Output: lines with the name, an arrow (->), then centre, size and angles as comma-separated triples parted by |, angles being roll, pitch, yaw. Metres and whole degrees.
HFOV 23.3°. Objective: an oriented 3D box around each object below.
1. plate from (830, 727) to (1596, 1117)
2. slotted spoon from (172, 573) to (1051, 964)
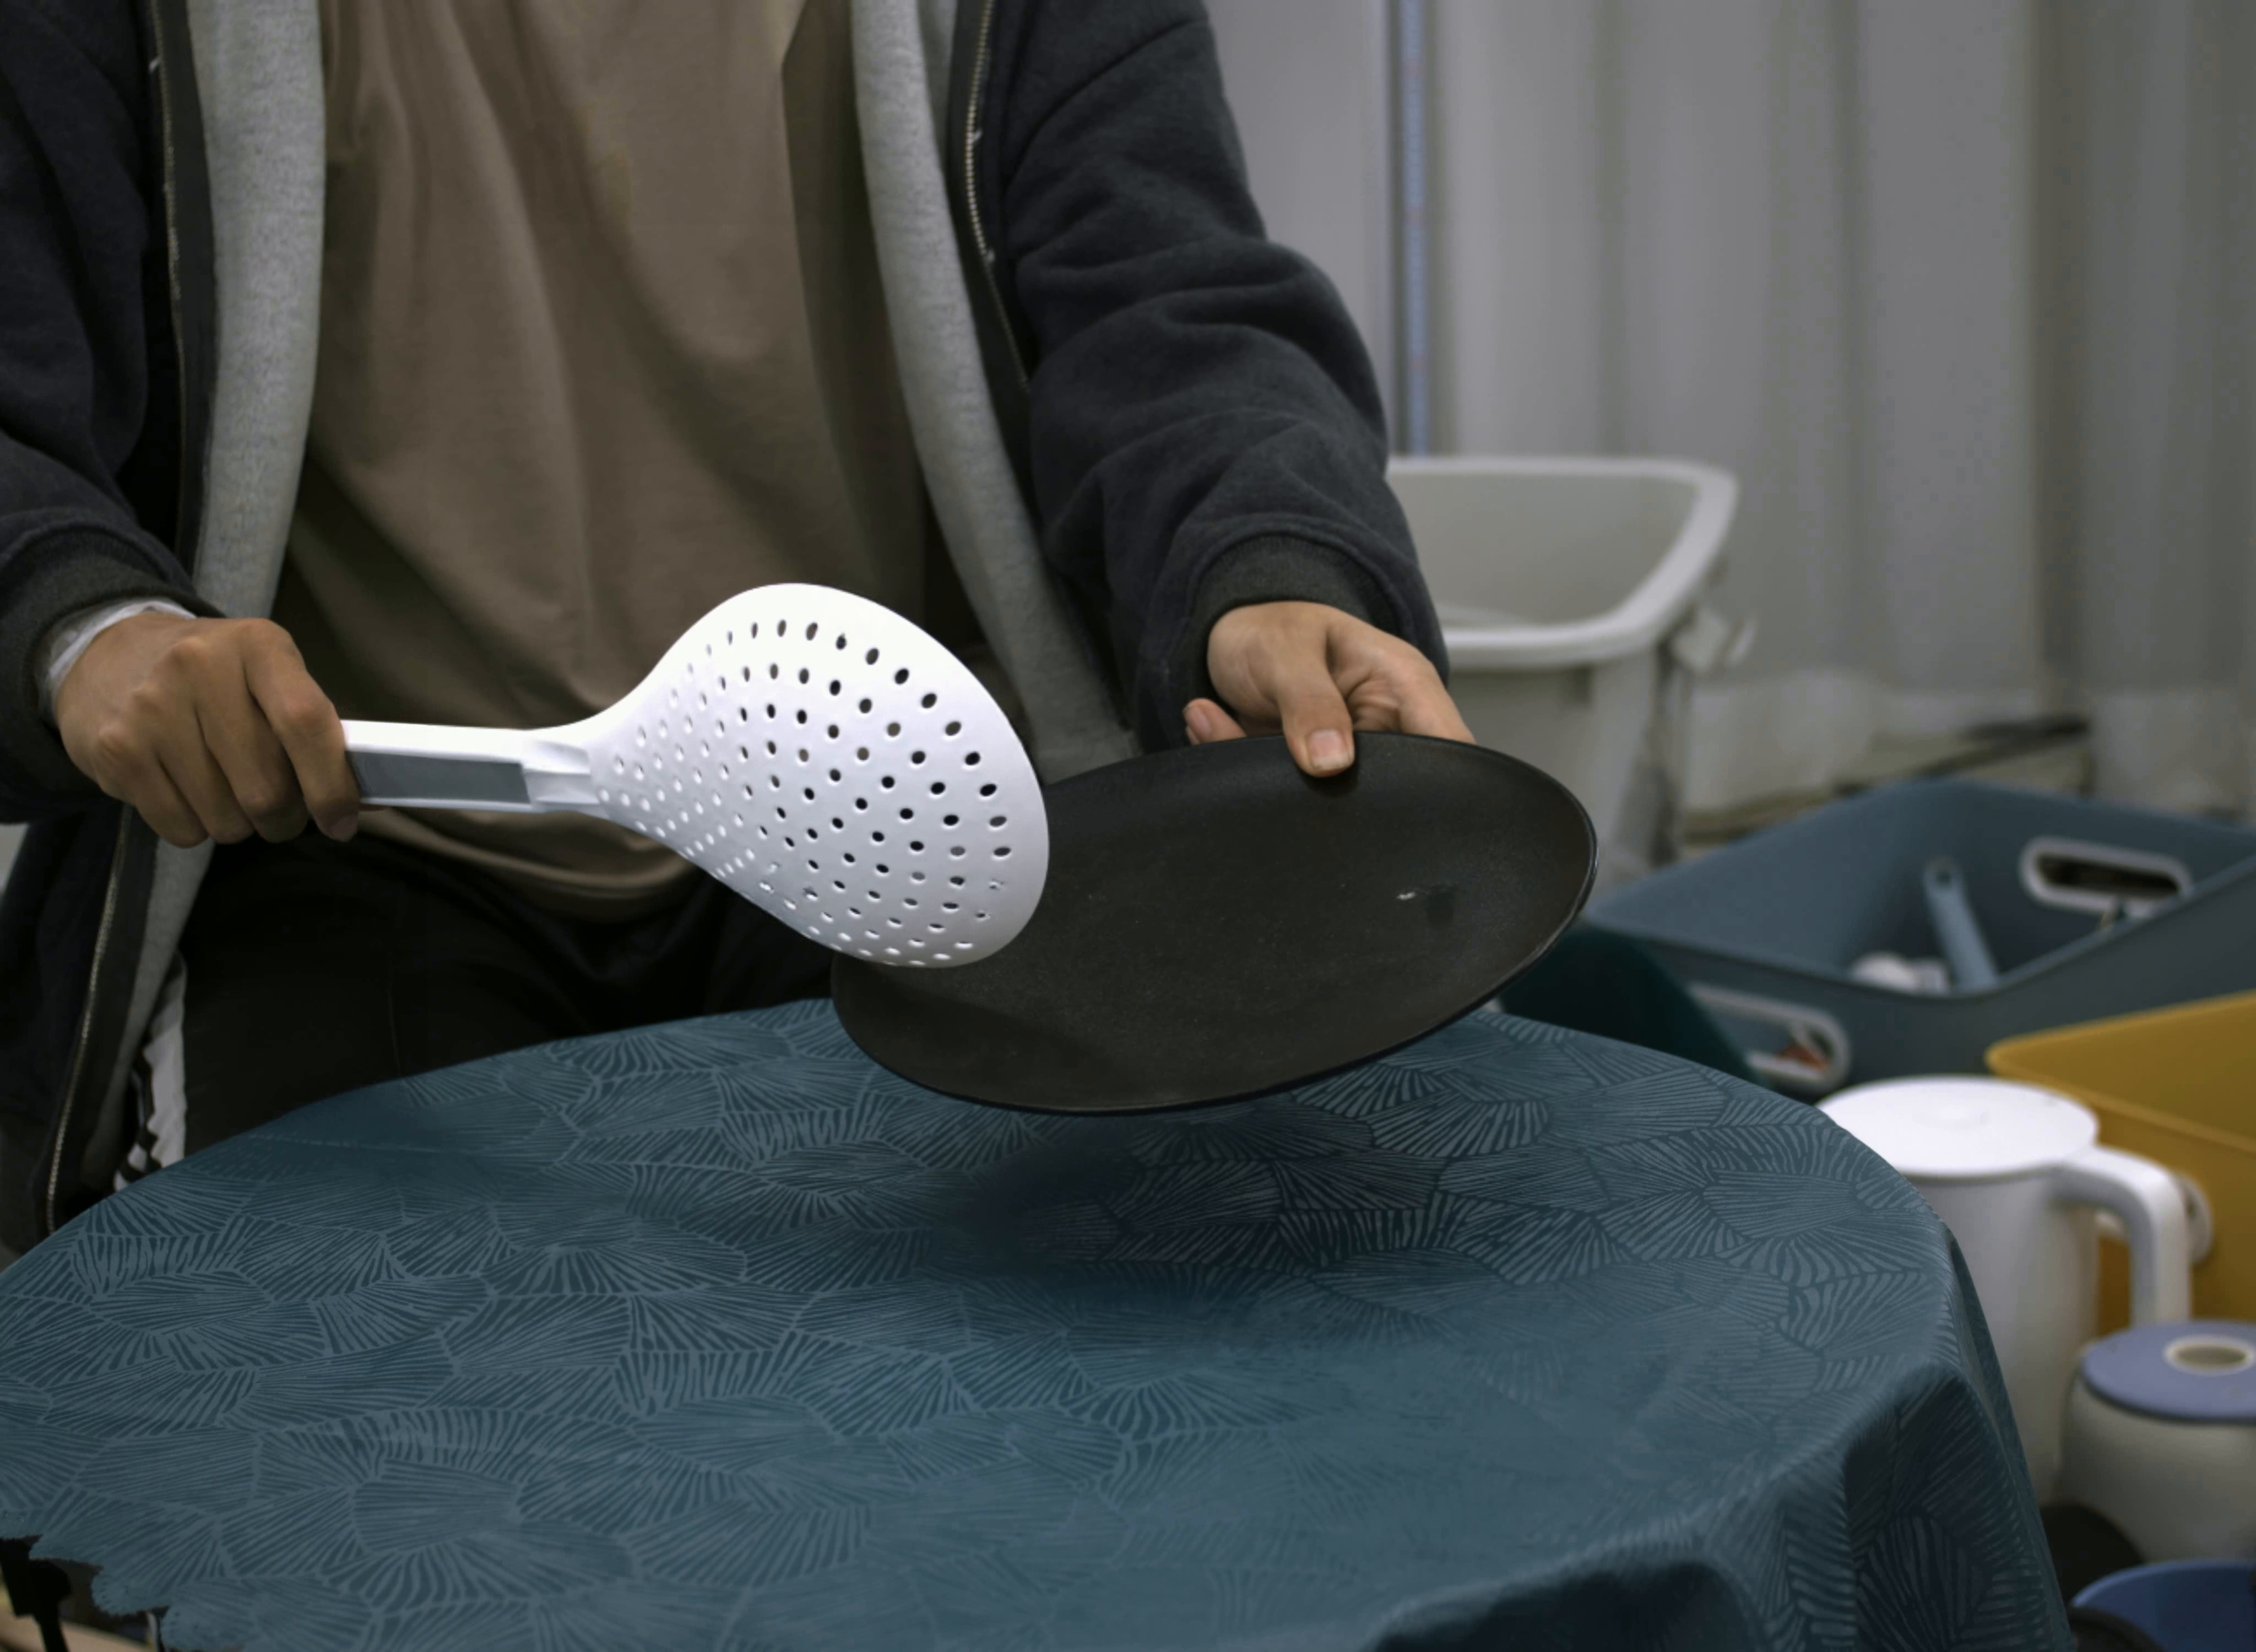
plate -> 0.027, 0.034, 1.704 | 0.244, 0.023, 0.247 | -10, 25, 5
slotted spoon -> -0.173, -0.019, 1.740 | 0.351, 0.135, 0.046 | 6, 32, 39
